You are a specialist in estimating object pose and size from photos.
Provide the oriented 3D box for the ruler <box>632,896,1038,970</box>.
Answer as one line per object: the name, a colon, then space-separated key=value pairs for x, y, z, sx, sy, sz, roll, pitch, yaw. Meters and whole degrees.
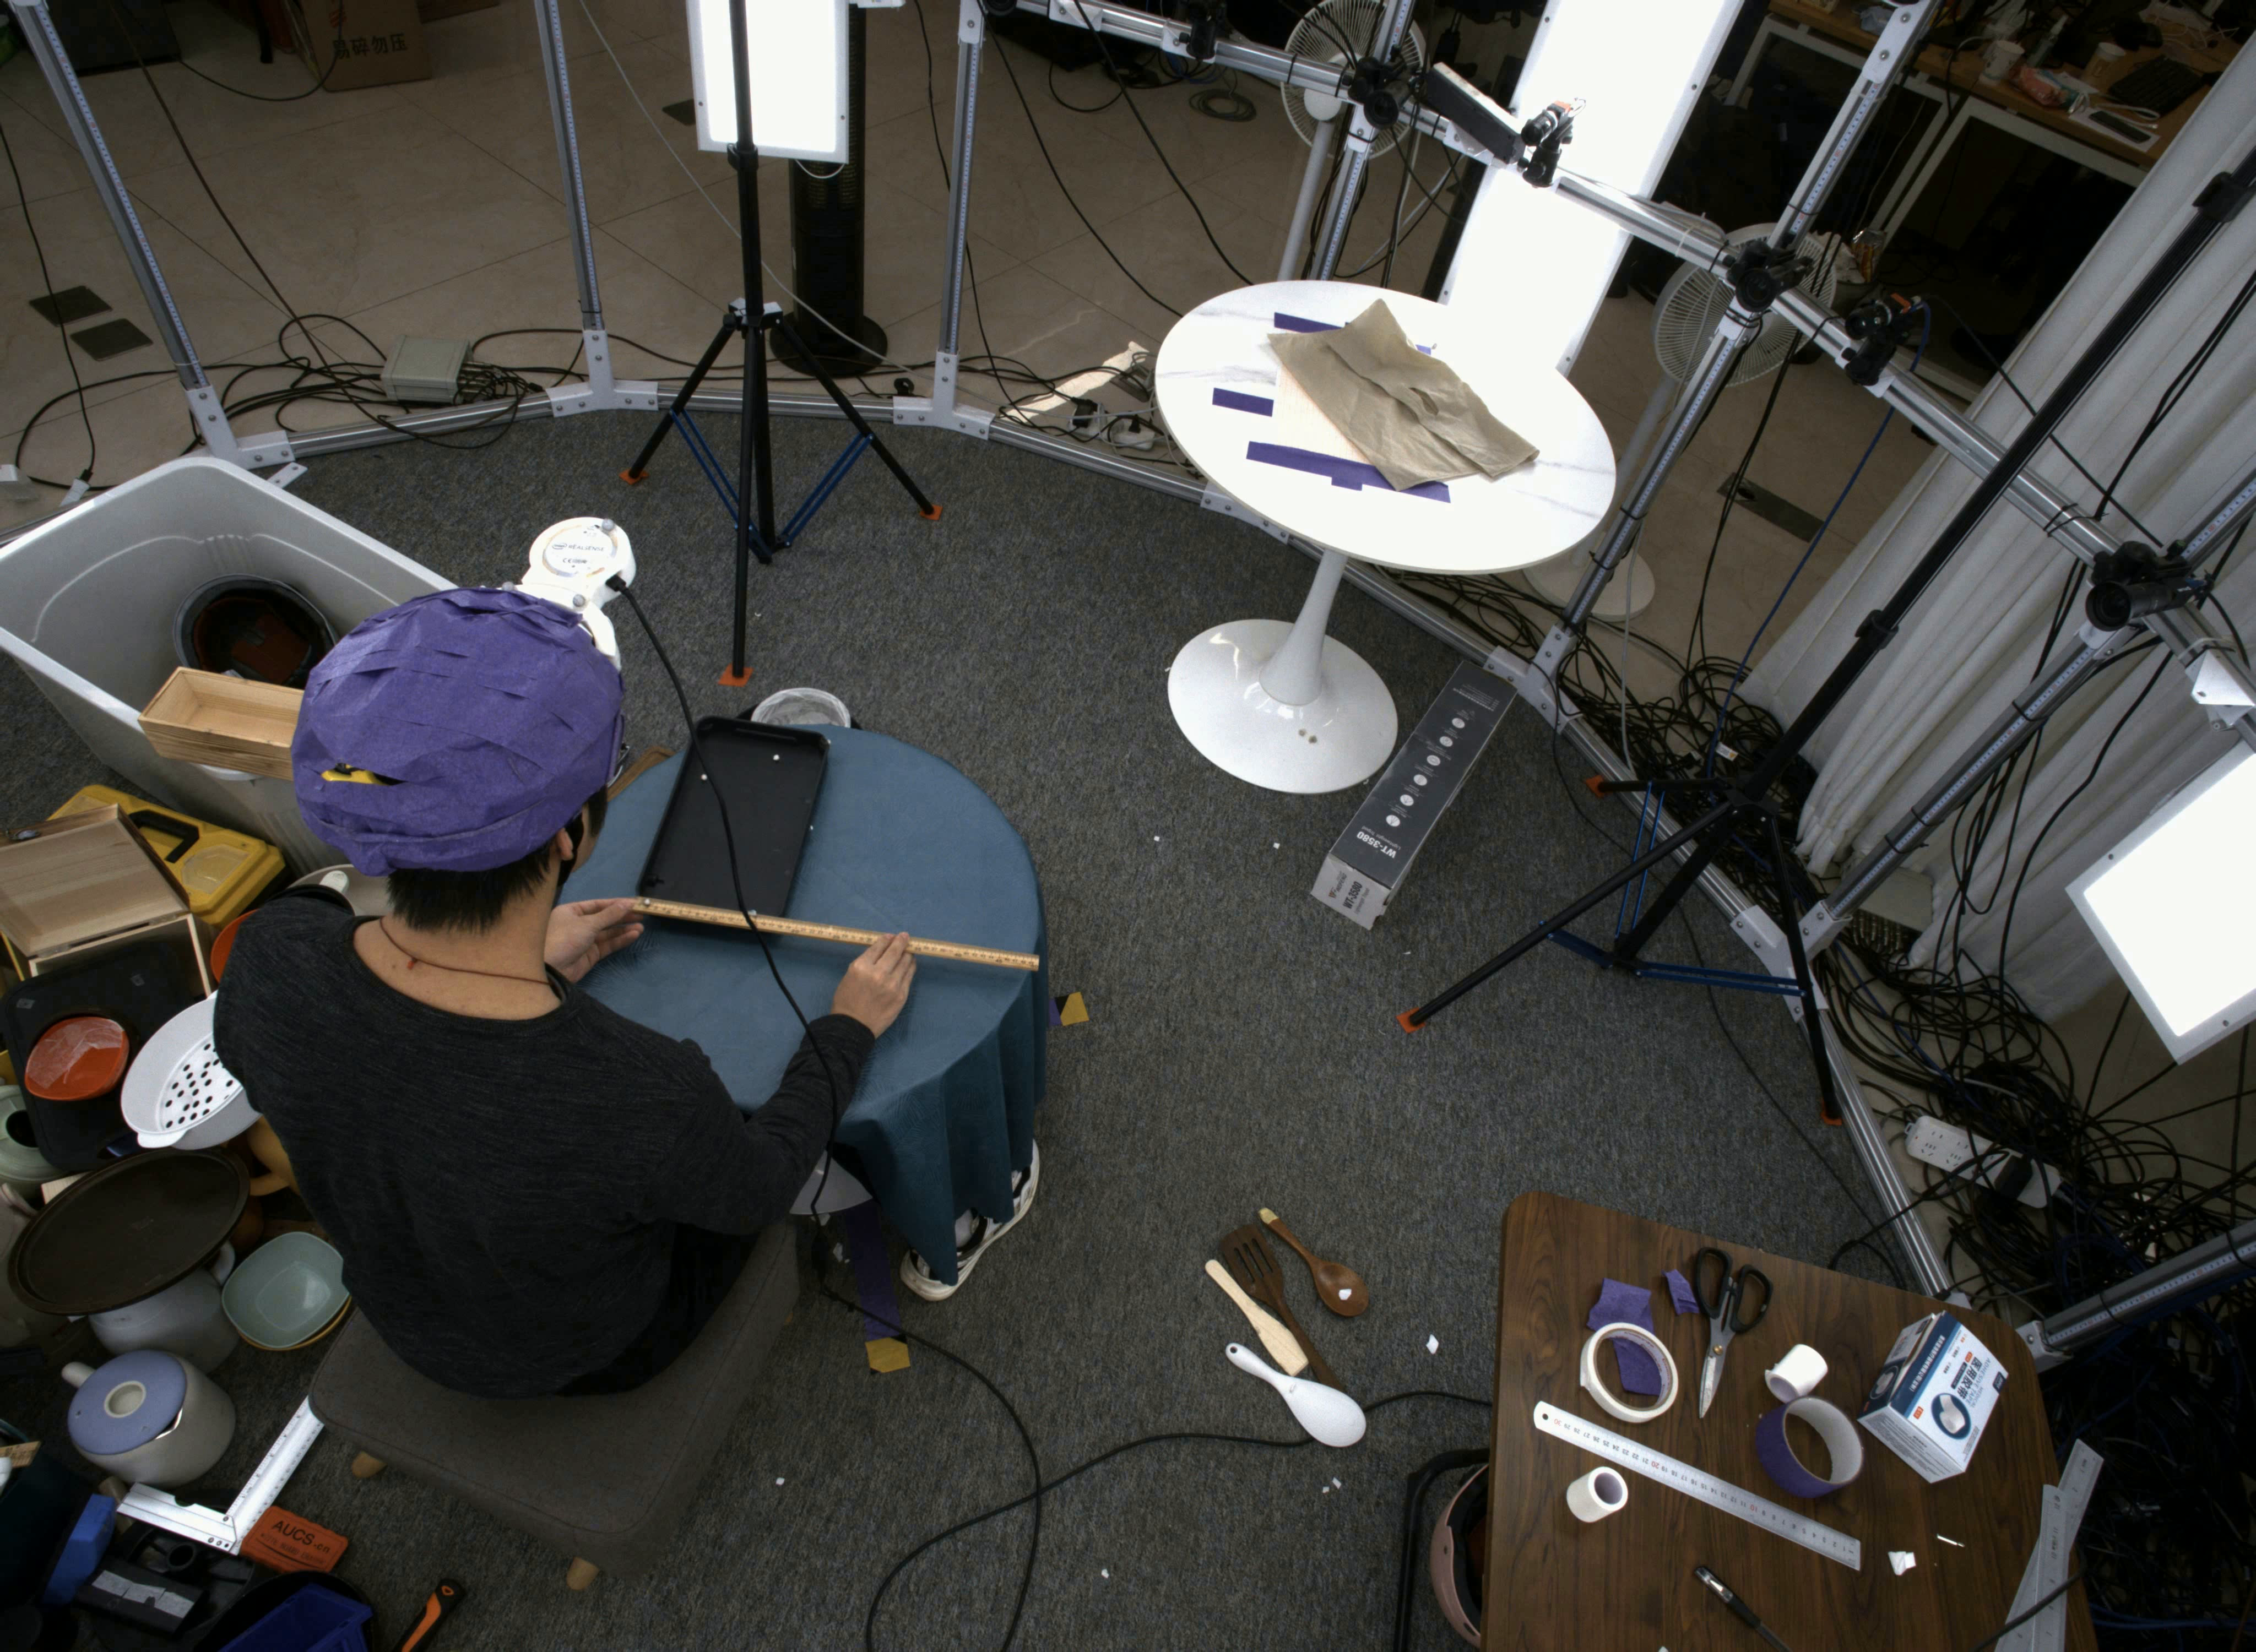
ruler: x=-0.356 y=0.130 z=1.589 sx=0.499 sy=0.006 sz=0.026 roll=9 pitch=40 yaw=-8

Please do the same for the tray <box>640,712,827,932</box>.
tray: x=-0.507 y=-0.012 z=1.683 sx=0.184 sy=0.038 sz=0.312 roll=9 pitch=53 yaw=-8
